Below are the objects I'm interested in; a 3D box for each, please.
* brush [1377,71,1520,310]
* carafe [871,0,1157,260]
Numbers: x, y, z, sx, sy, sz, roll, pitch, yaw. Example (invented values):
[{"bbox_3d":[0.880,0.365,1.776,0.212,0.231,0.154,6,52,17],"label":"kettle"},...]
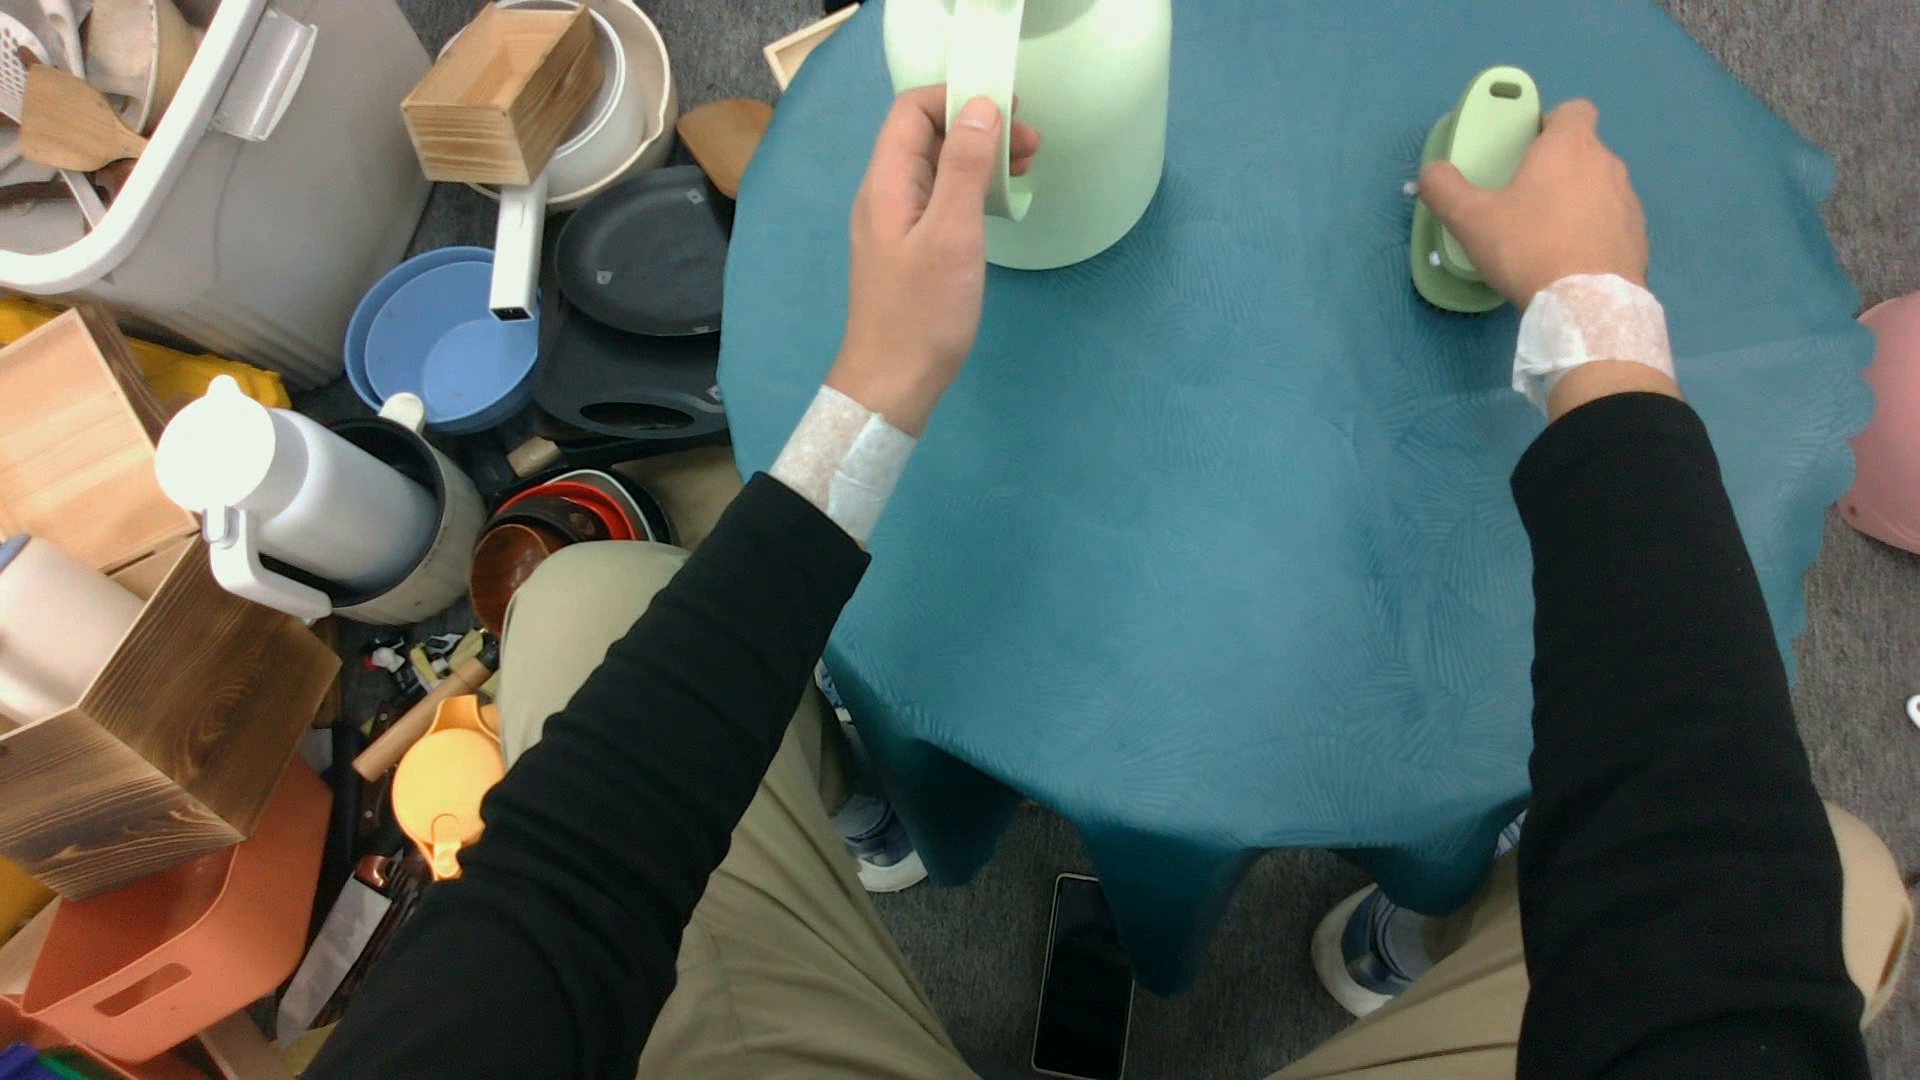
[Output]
[{"bbox_3d":[0.266,-0.187,0.755,0.059,0.076,0.123,13,96,5],"label":"brush"},{"bbox_3d":[0.024,-0.241,0.678,0.144,0.256,0.187,9,79,8],"label":"carafe"}]
